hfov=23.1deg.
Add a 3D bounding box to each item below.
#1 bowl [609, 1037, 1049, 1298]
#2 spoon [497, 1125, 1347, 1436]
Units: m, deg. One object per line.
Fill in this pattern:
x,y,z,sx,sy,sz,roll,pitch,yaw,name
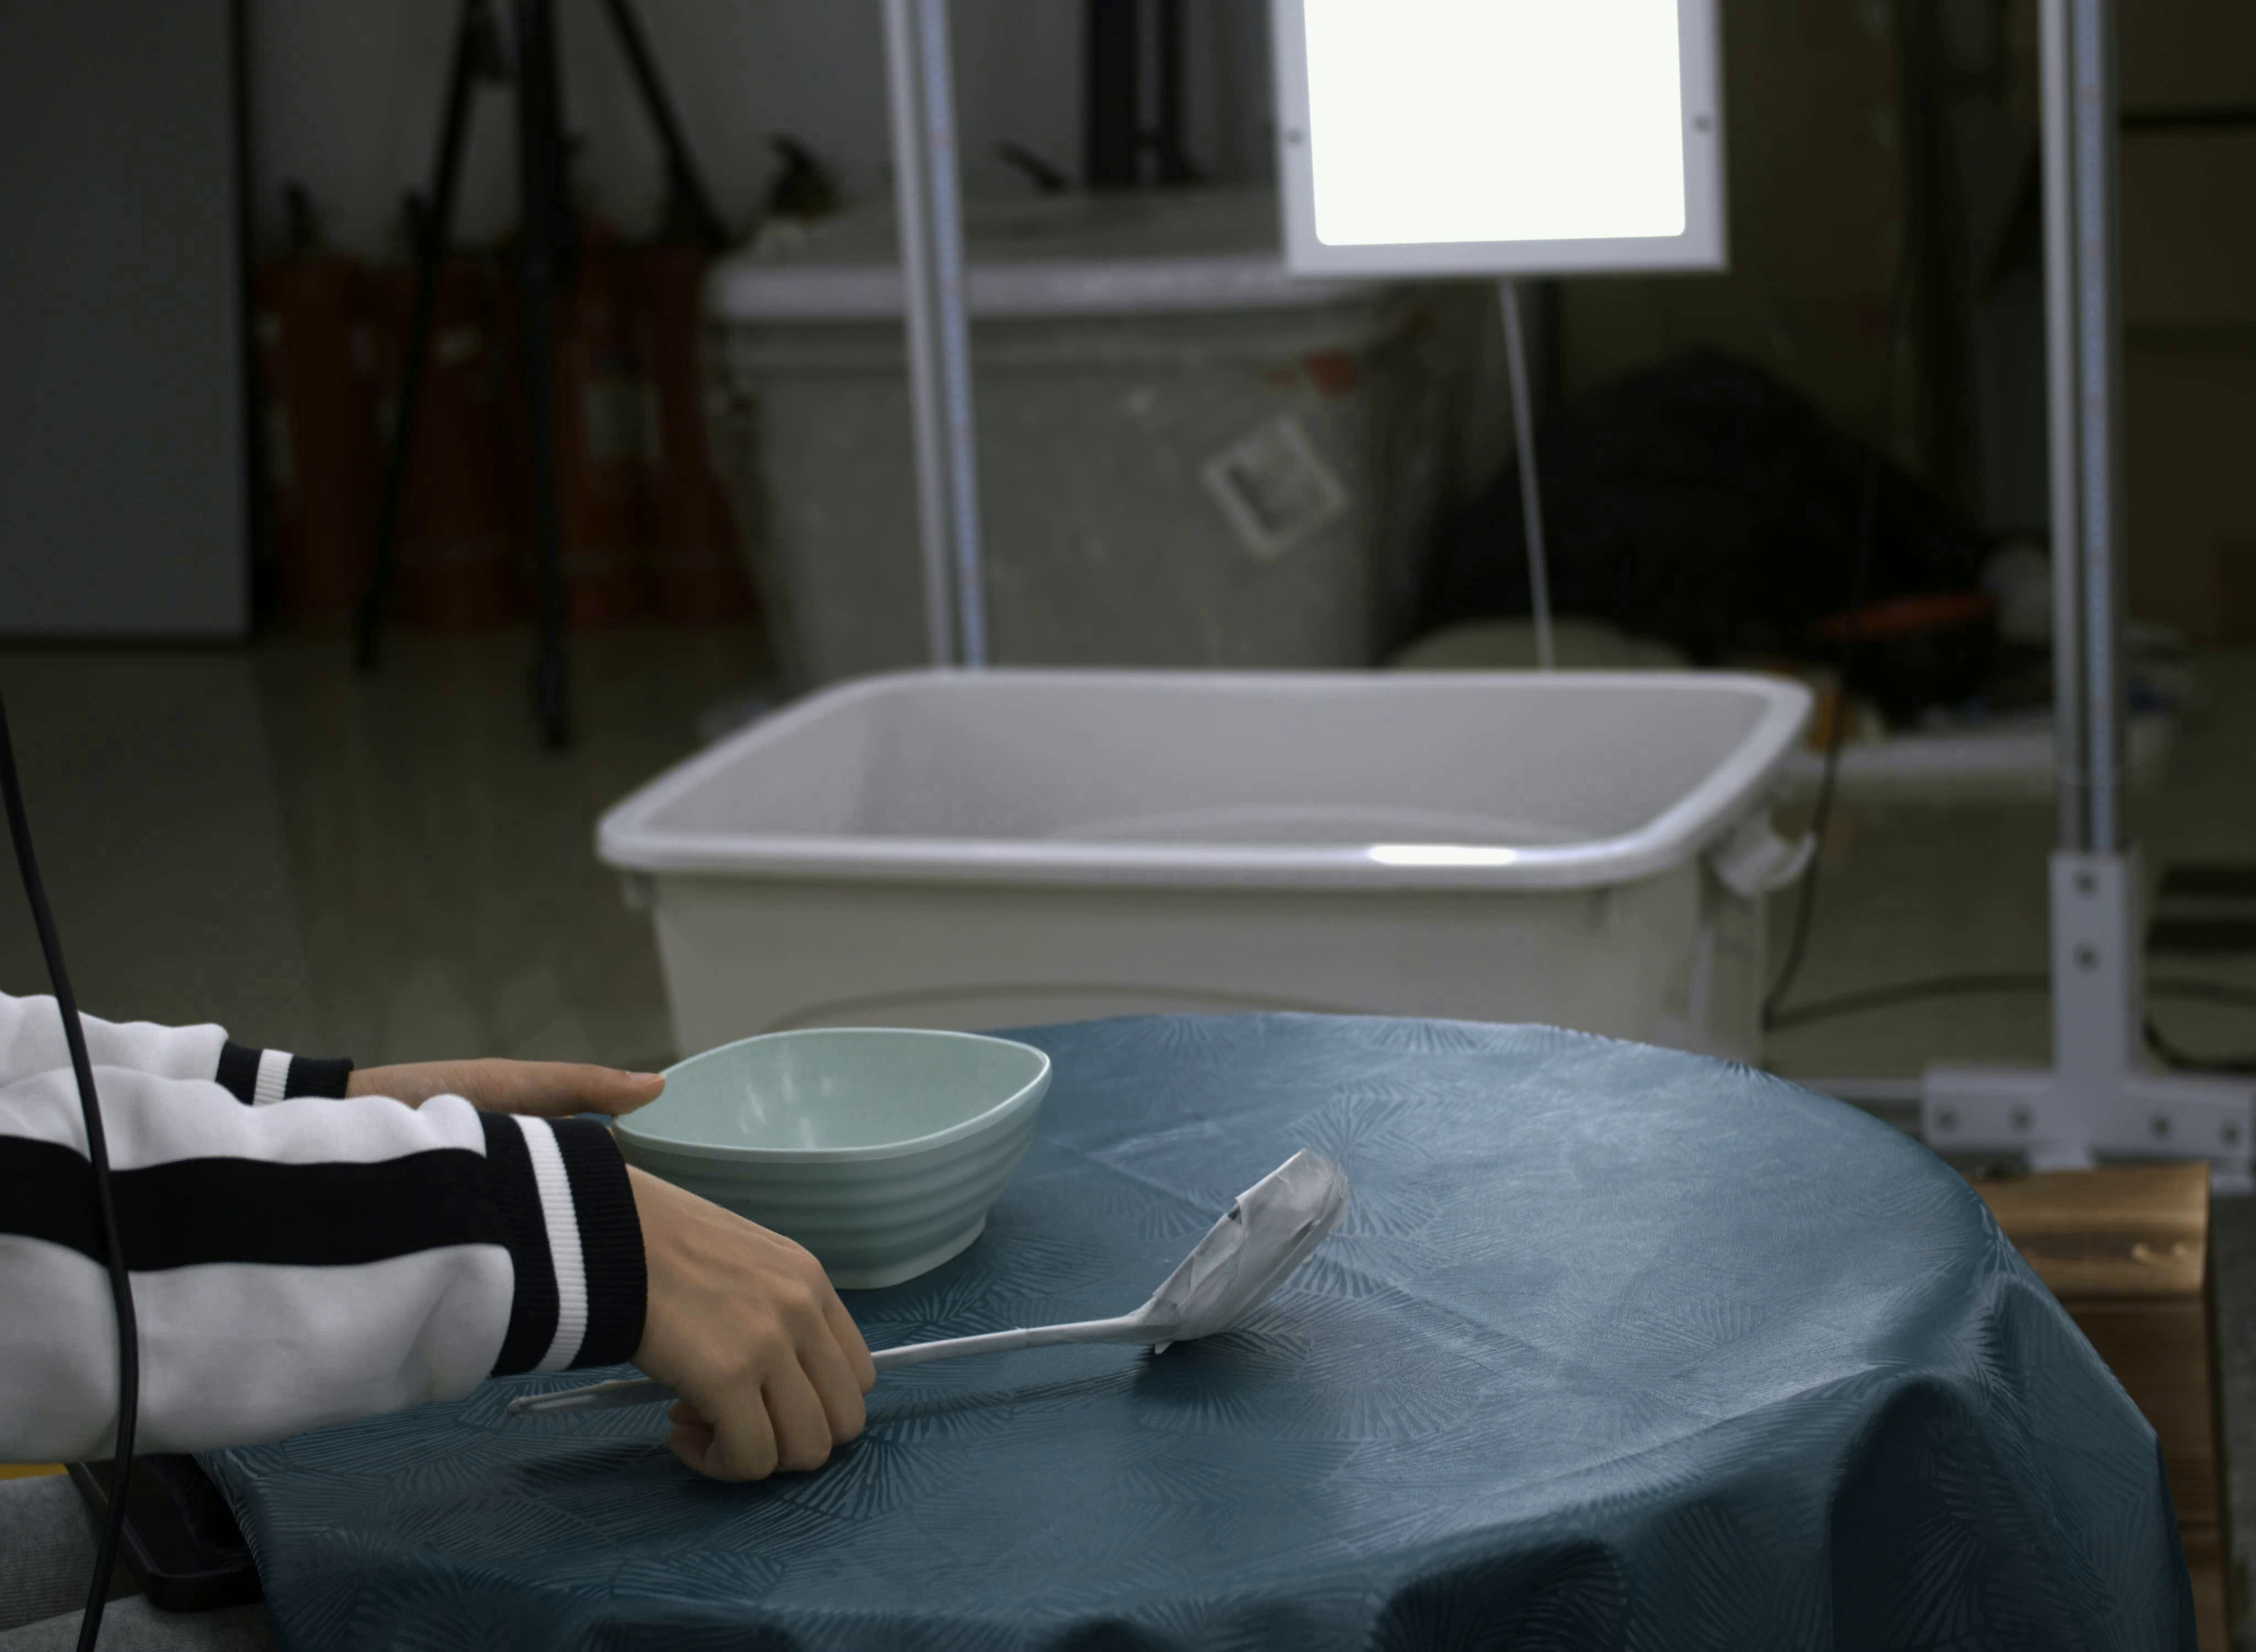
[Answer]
-0.098,0.118,1.859,0.151,0.059,0.151,-5,13,0,bowl
-0.062,0.145,1.720,0.275,0.059,0.101,-8,-28,-5,spoon
